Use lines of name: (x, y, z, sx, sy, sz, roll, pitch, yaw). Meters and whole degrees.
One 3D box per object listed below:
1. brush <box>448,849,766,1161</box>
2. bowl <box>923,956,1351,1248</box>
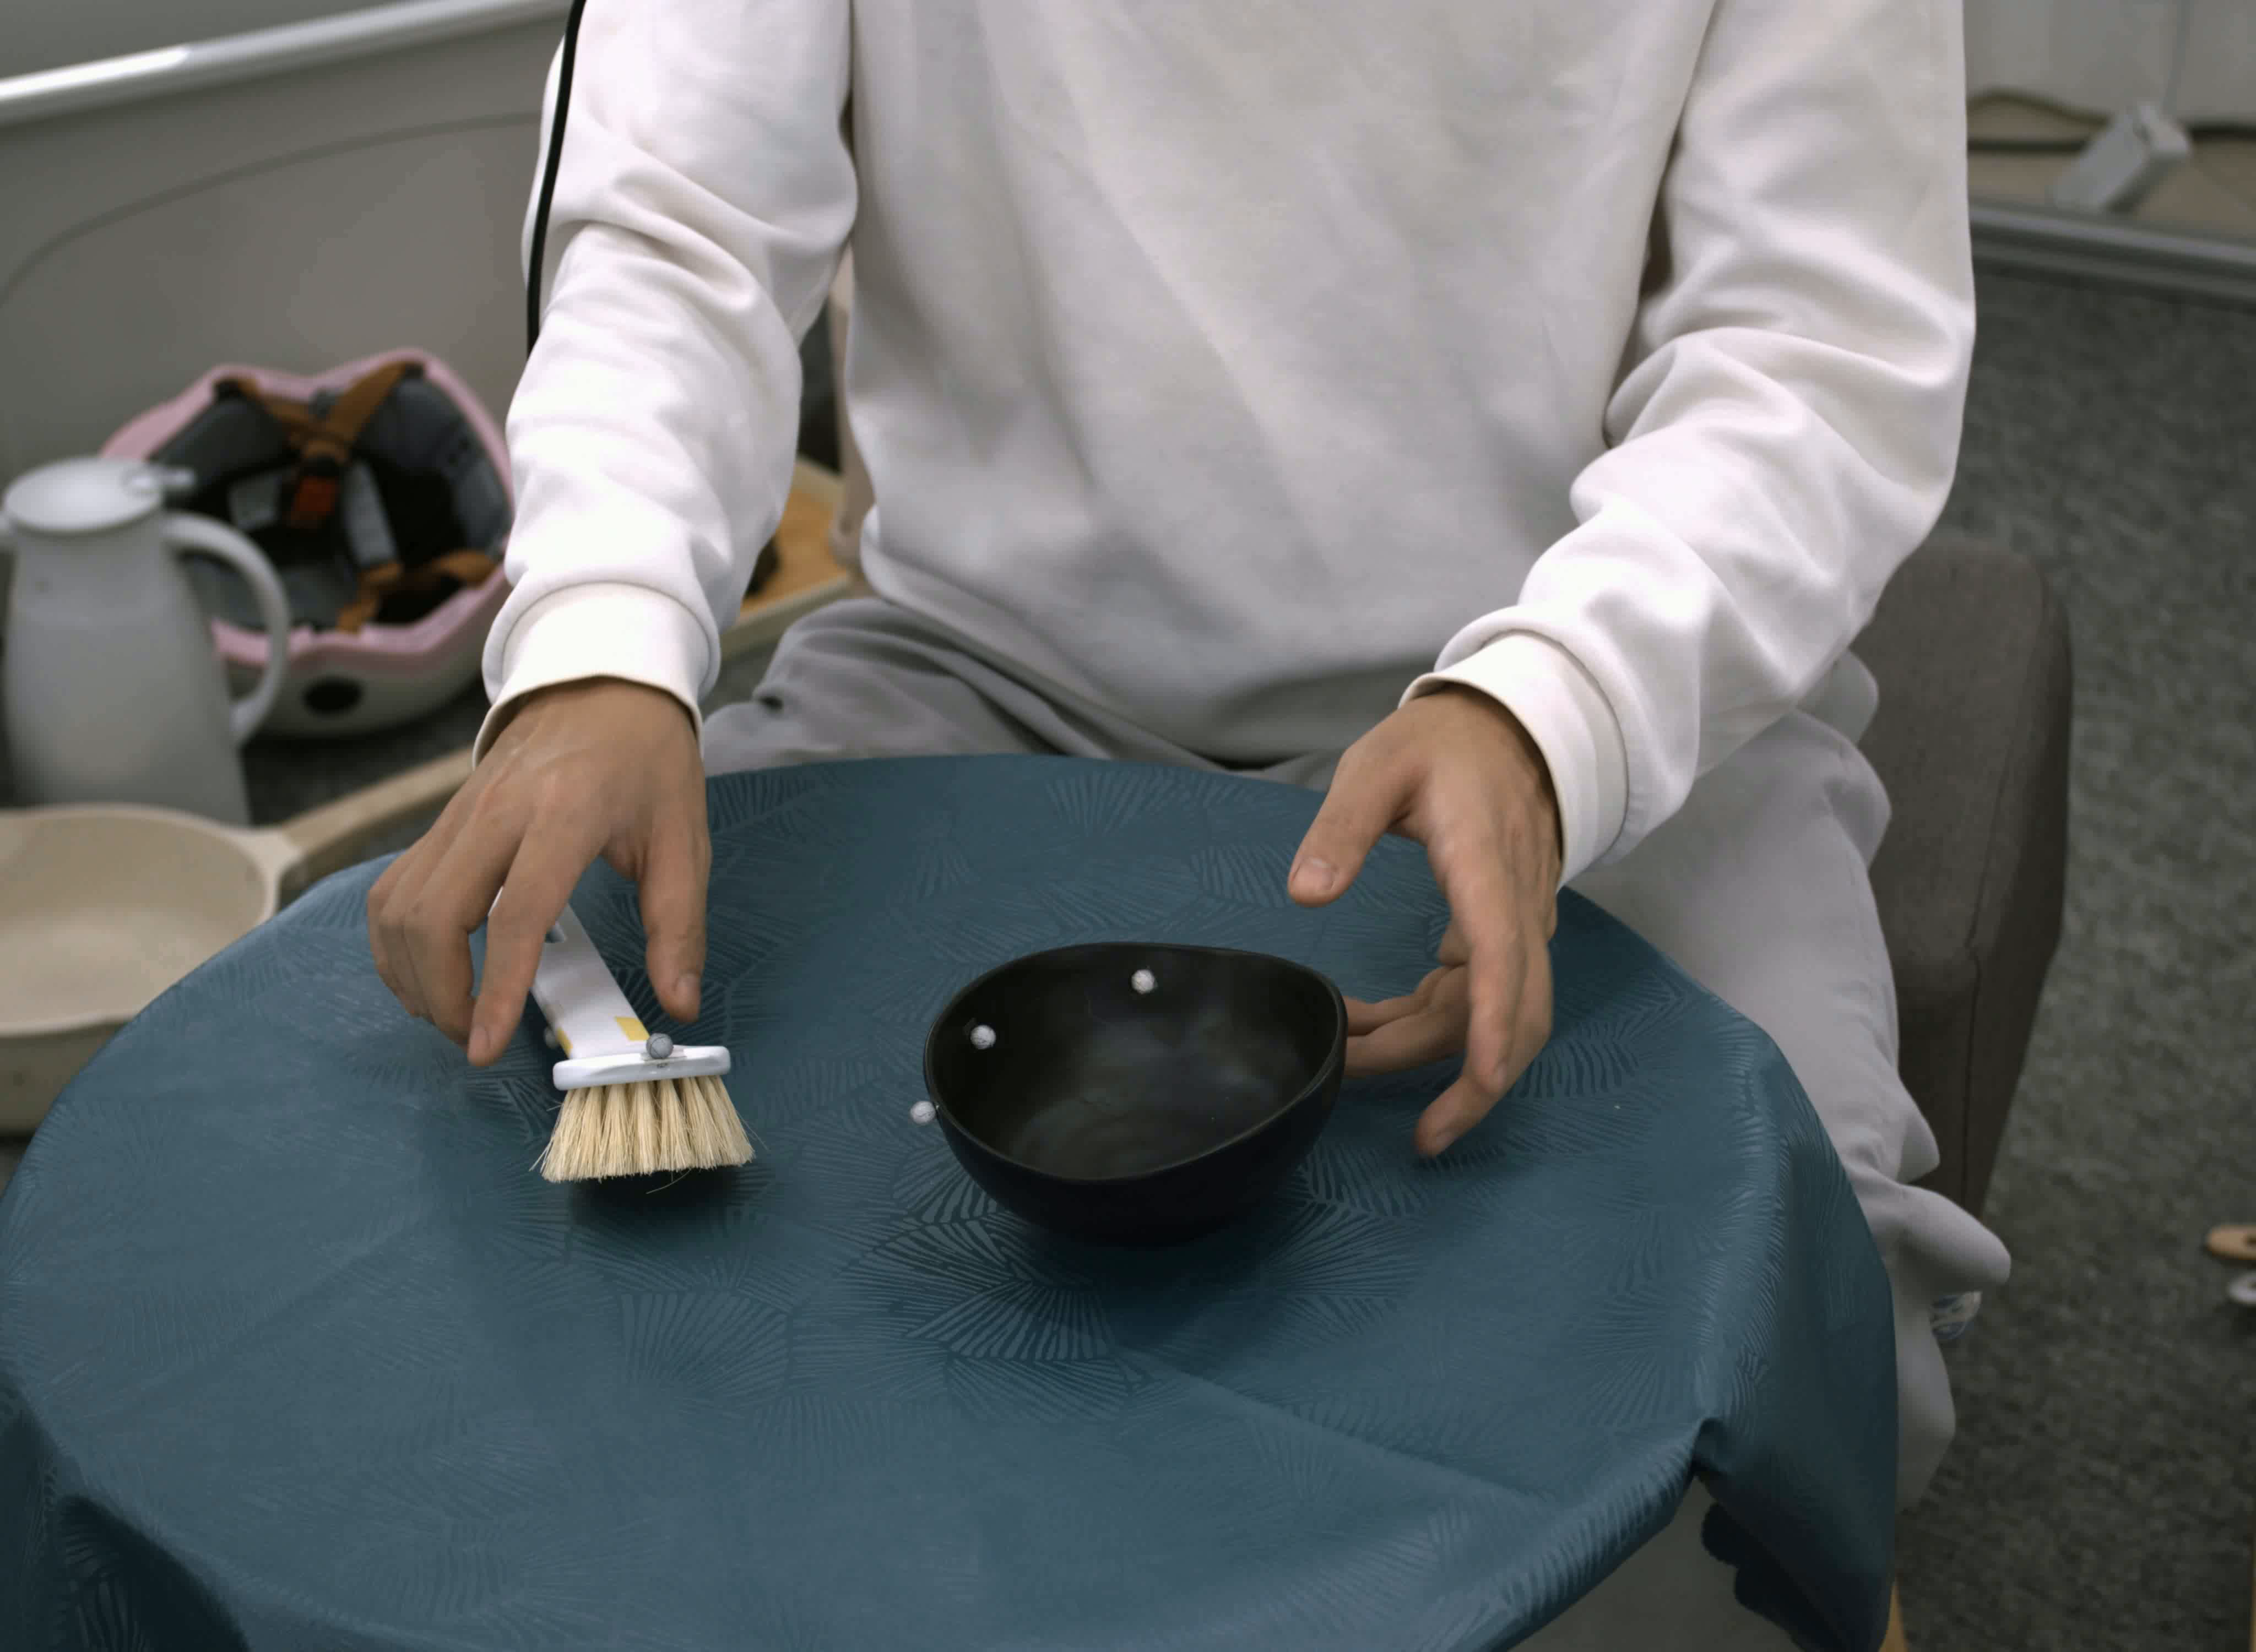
brush: (-0.191, 0.066, 1.960, 0.068, 0.056, 0.267, 1, 13, -23)
bowl: (0.005, 0.095, 1.847, 0.136, 0.066, 0.173, 6, 25, 16)
